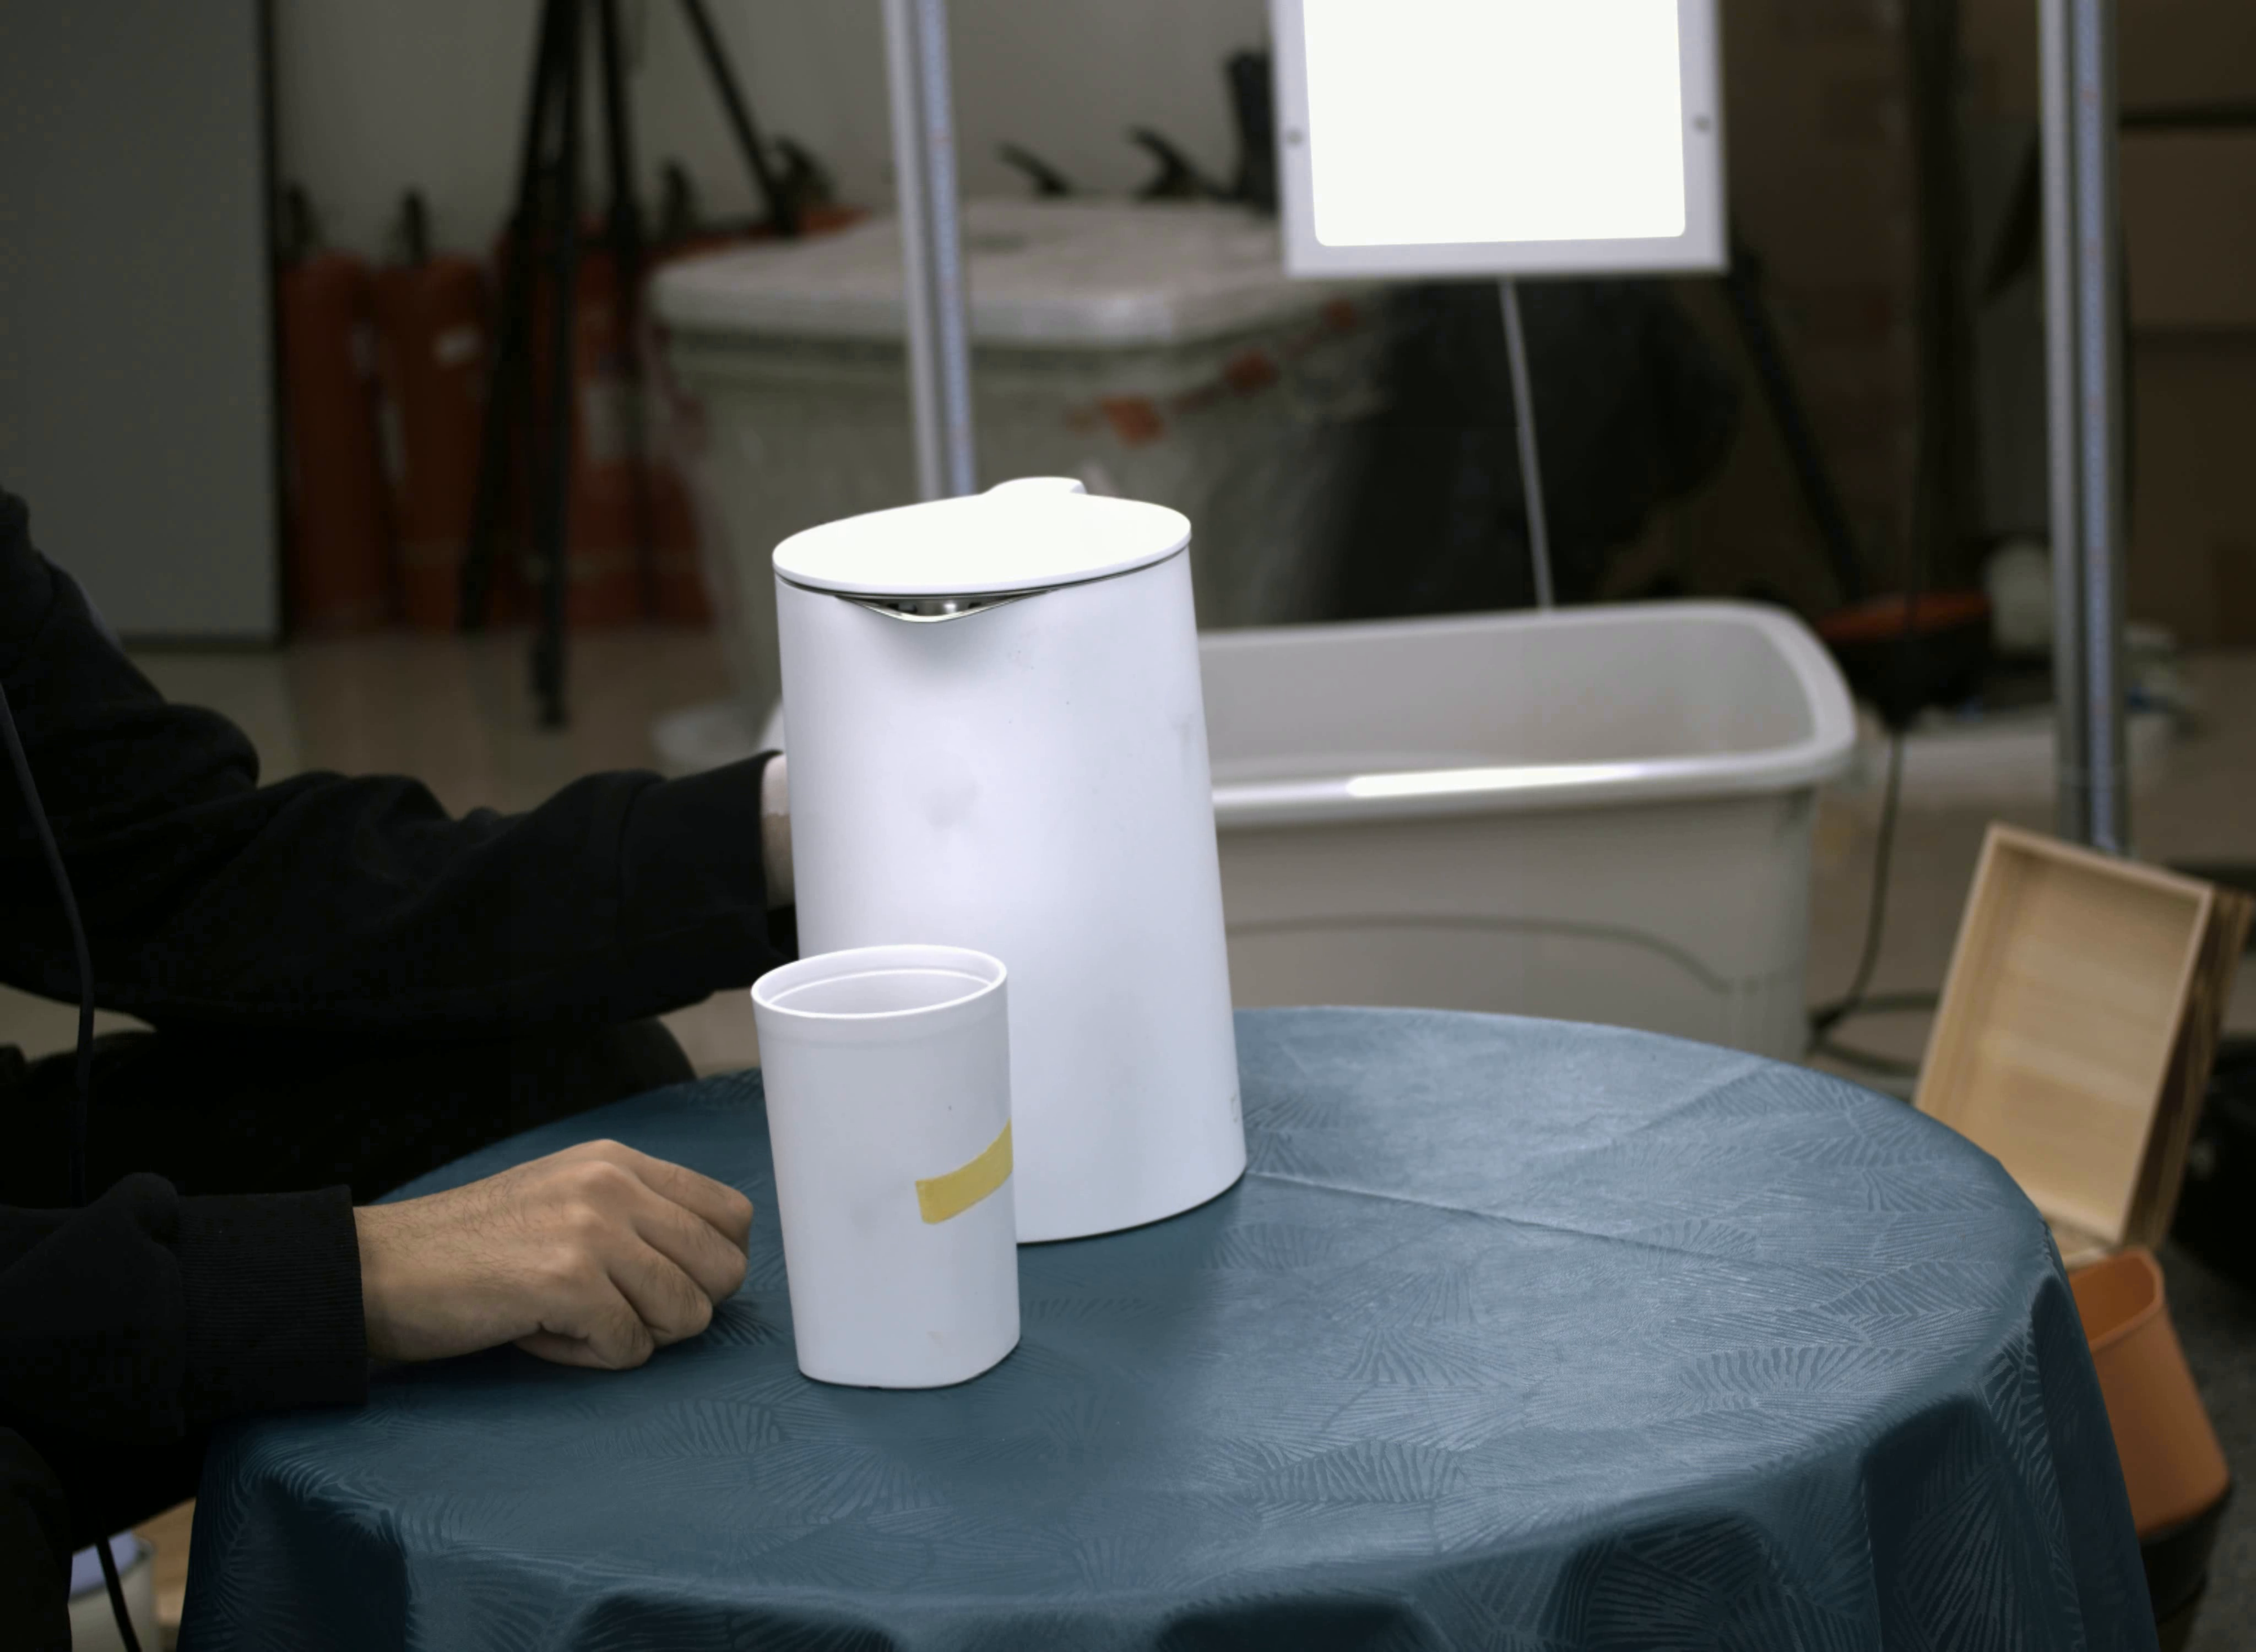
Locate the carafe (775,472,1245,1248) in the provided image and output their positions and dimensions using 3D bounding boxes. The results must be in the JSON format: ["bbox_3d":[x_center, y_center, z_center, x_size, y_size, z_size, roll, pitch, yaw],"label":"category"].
[{"bbox_3d":[-0.035,0.005,1.914,0.153,0.241,0.210,0,15,12],"label":"carafe"}]

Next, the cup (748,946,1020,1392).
[{"bbox_3d":[-0.073,0.108,1.735,0.081,0.126,0.081,-5,13,0],"label":"cup"}]
